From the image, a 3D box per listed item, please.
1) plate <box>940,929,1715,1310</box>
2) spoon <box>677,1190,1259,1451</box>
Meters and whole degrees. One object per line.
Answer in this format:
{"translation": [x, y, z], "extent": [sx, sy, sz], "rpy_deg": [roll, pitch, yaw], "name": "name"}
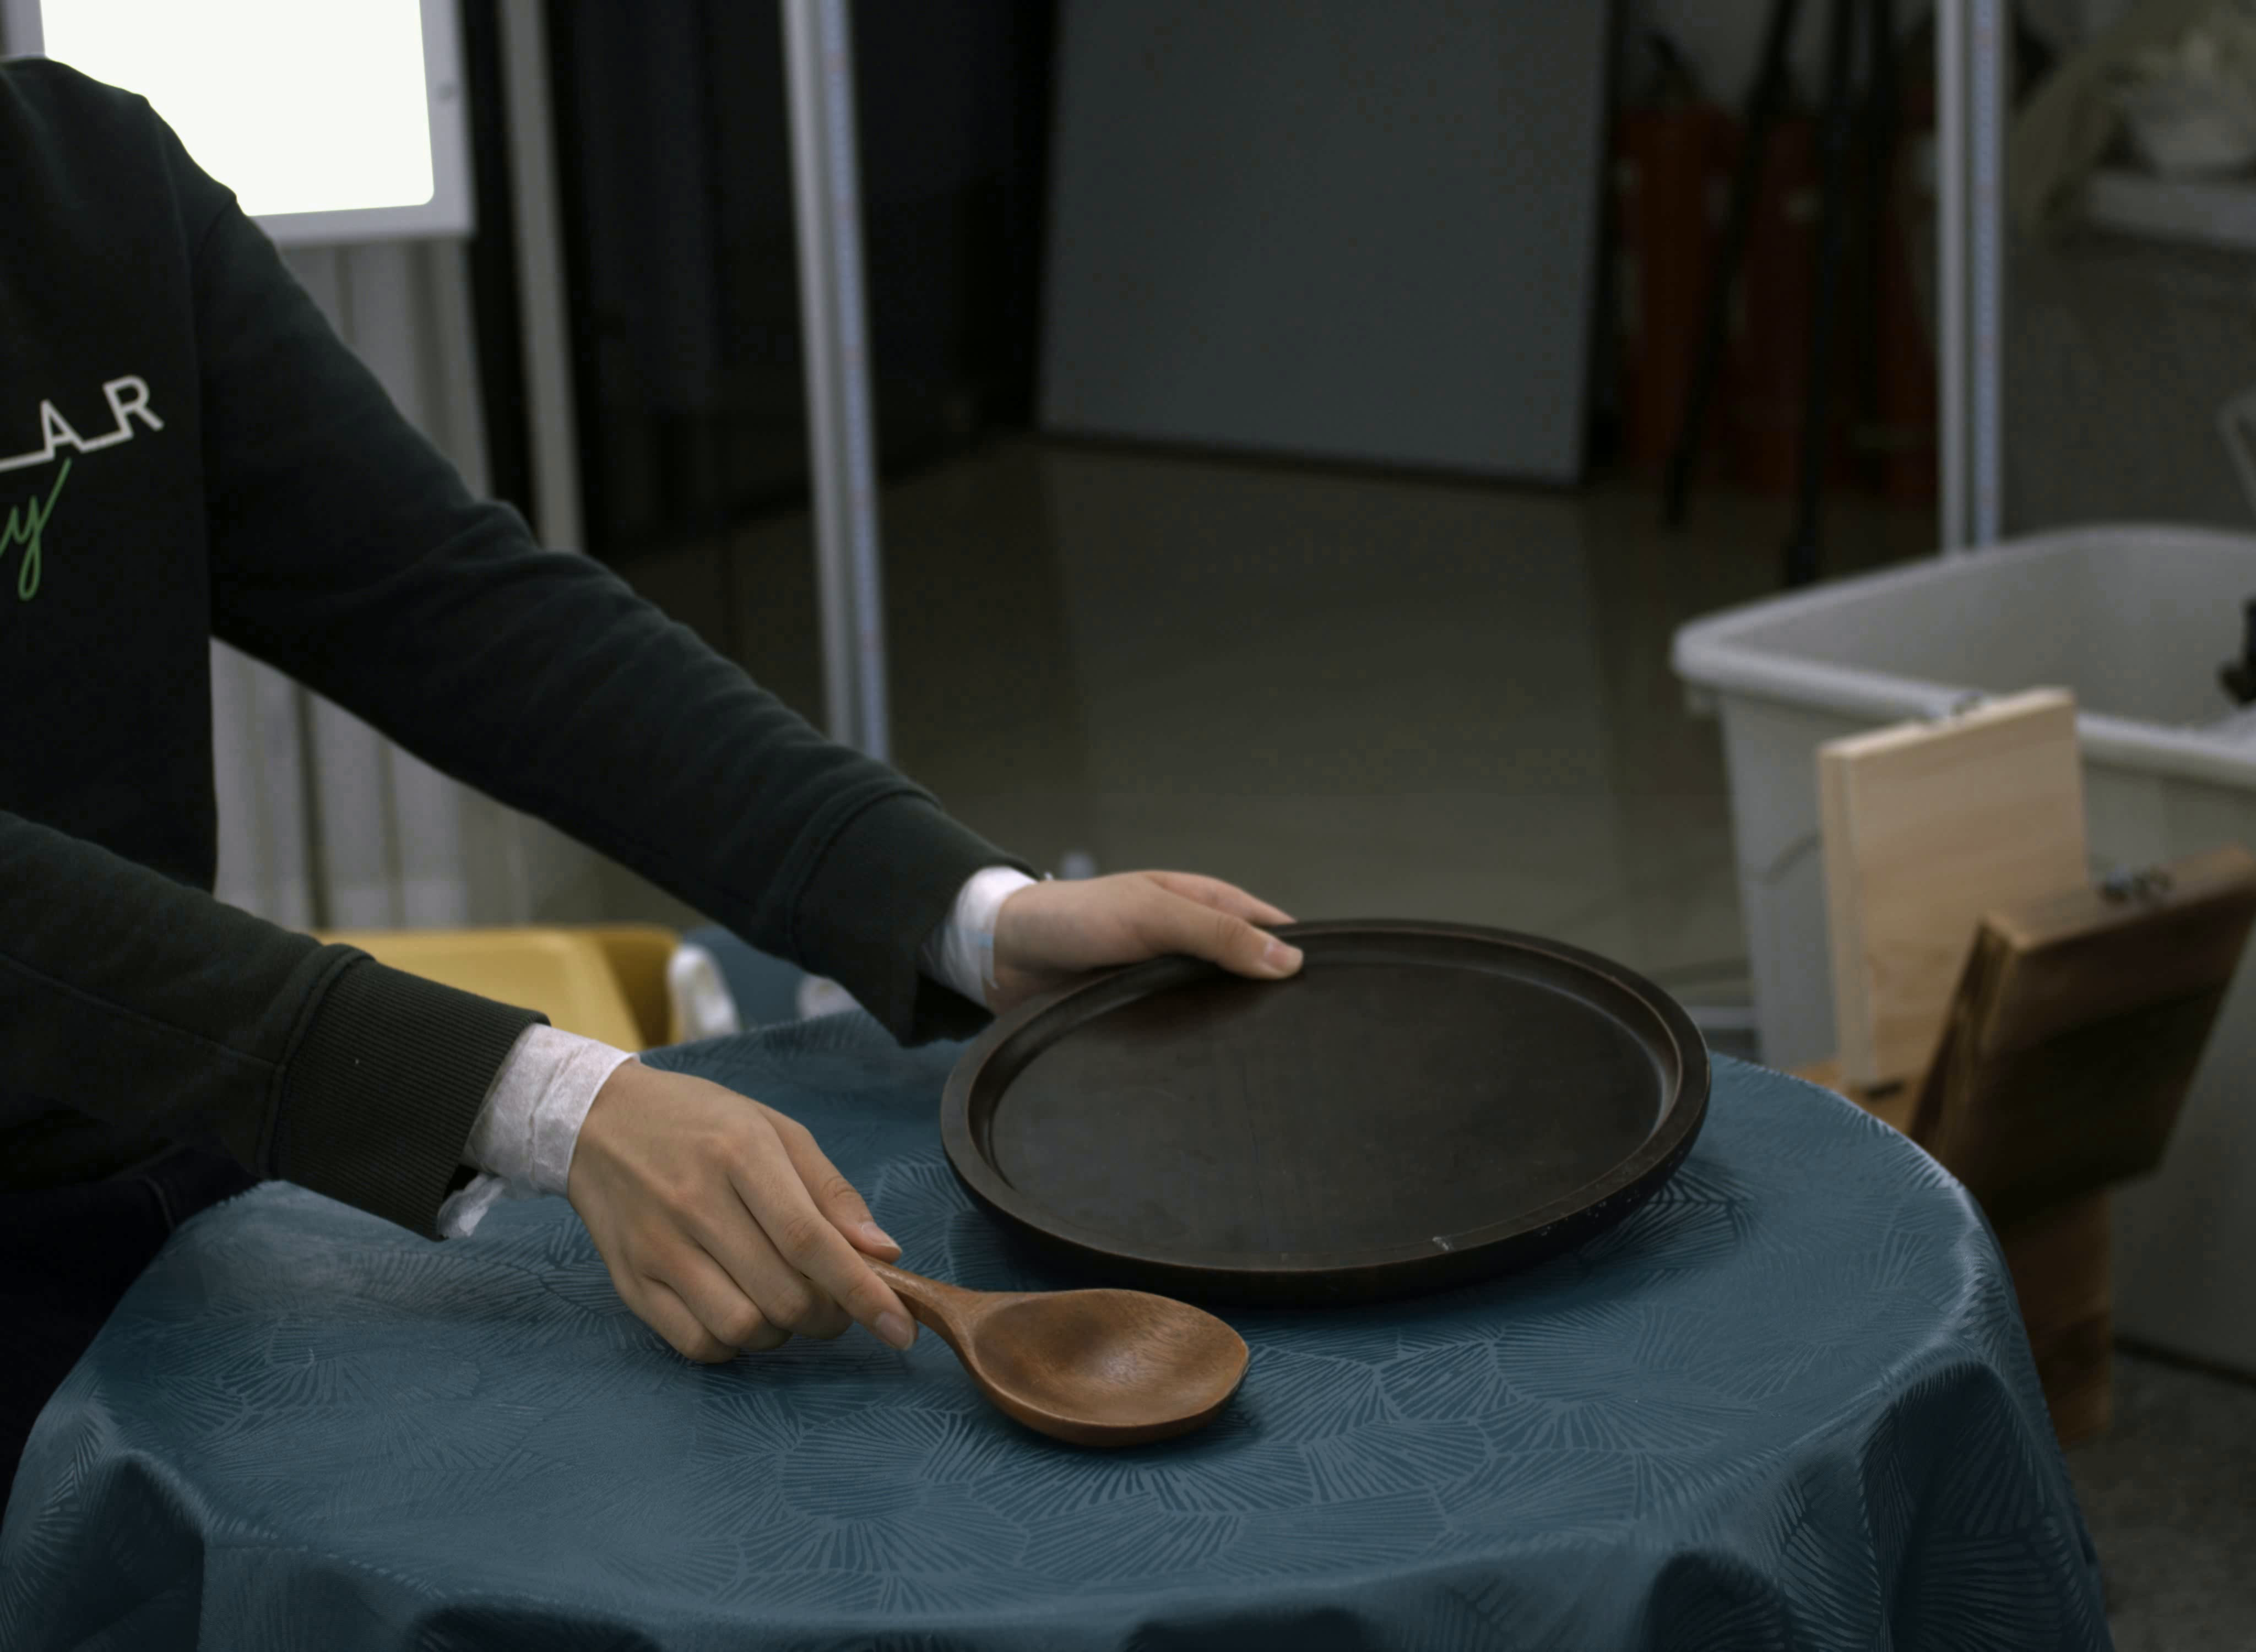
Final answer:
{"translation": [0.065, 0.092, 1.741], "extent": [0.251, 0.029, 0.255], "rpy_deg": [-4, 24, 1], "name": "plate"}
{"translation": [-0.052, 0.145, 1.606], "extent": [0.217, 0.017, 0.074], "rpy_deg": [17, 34, 37], "name": "spoon"}
